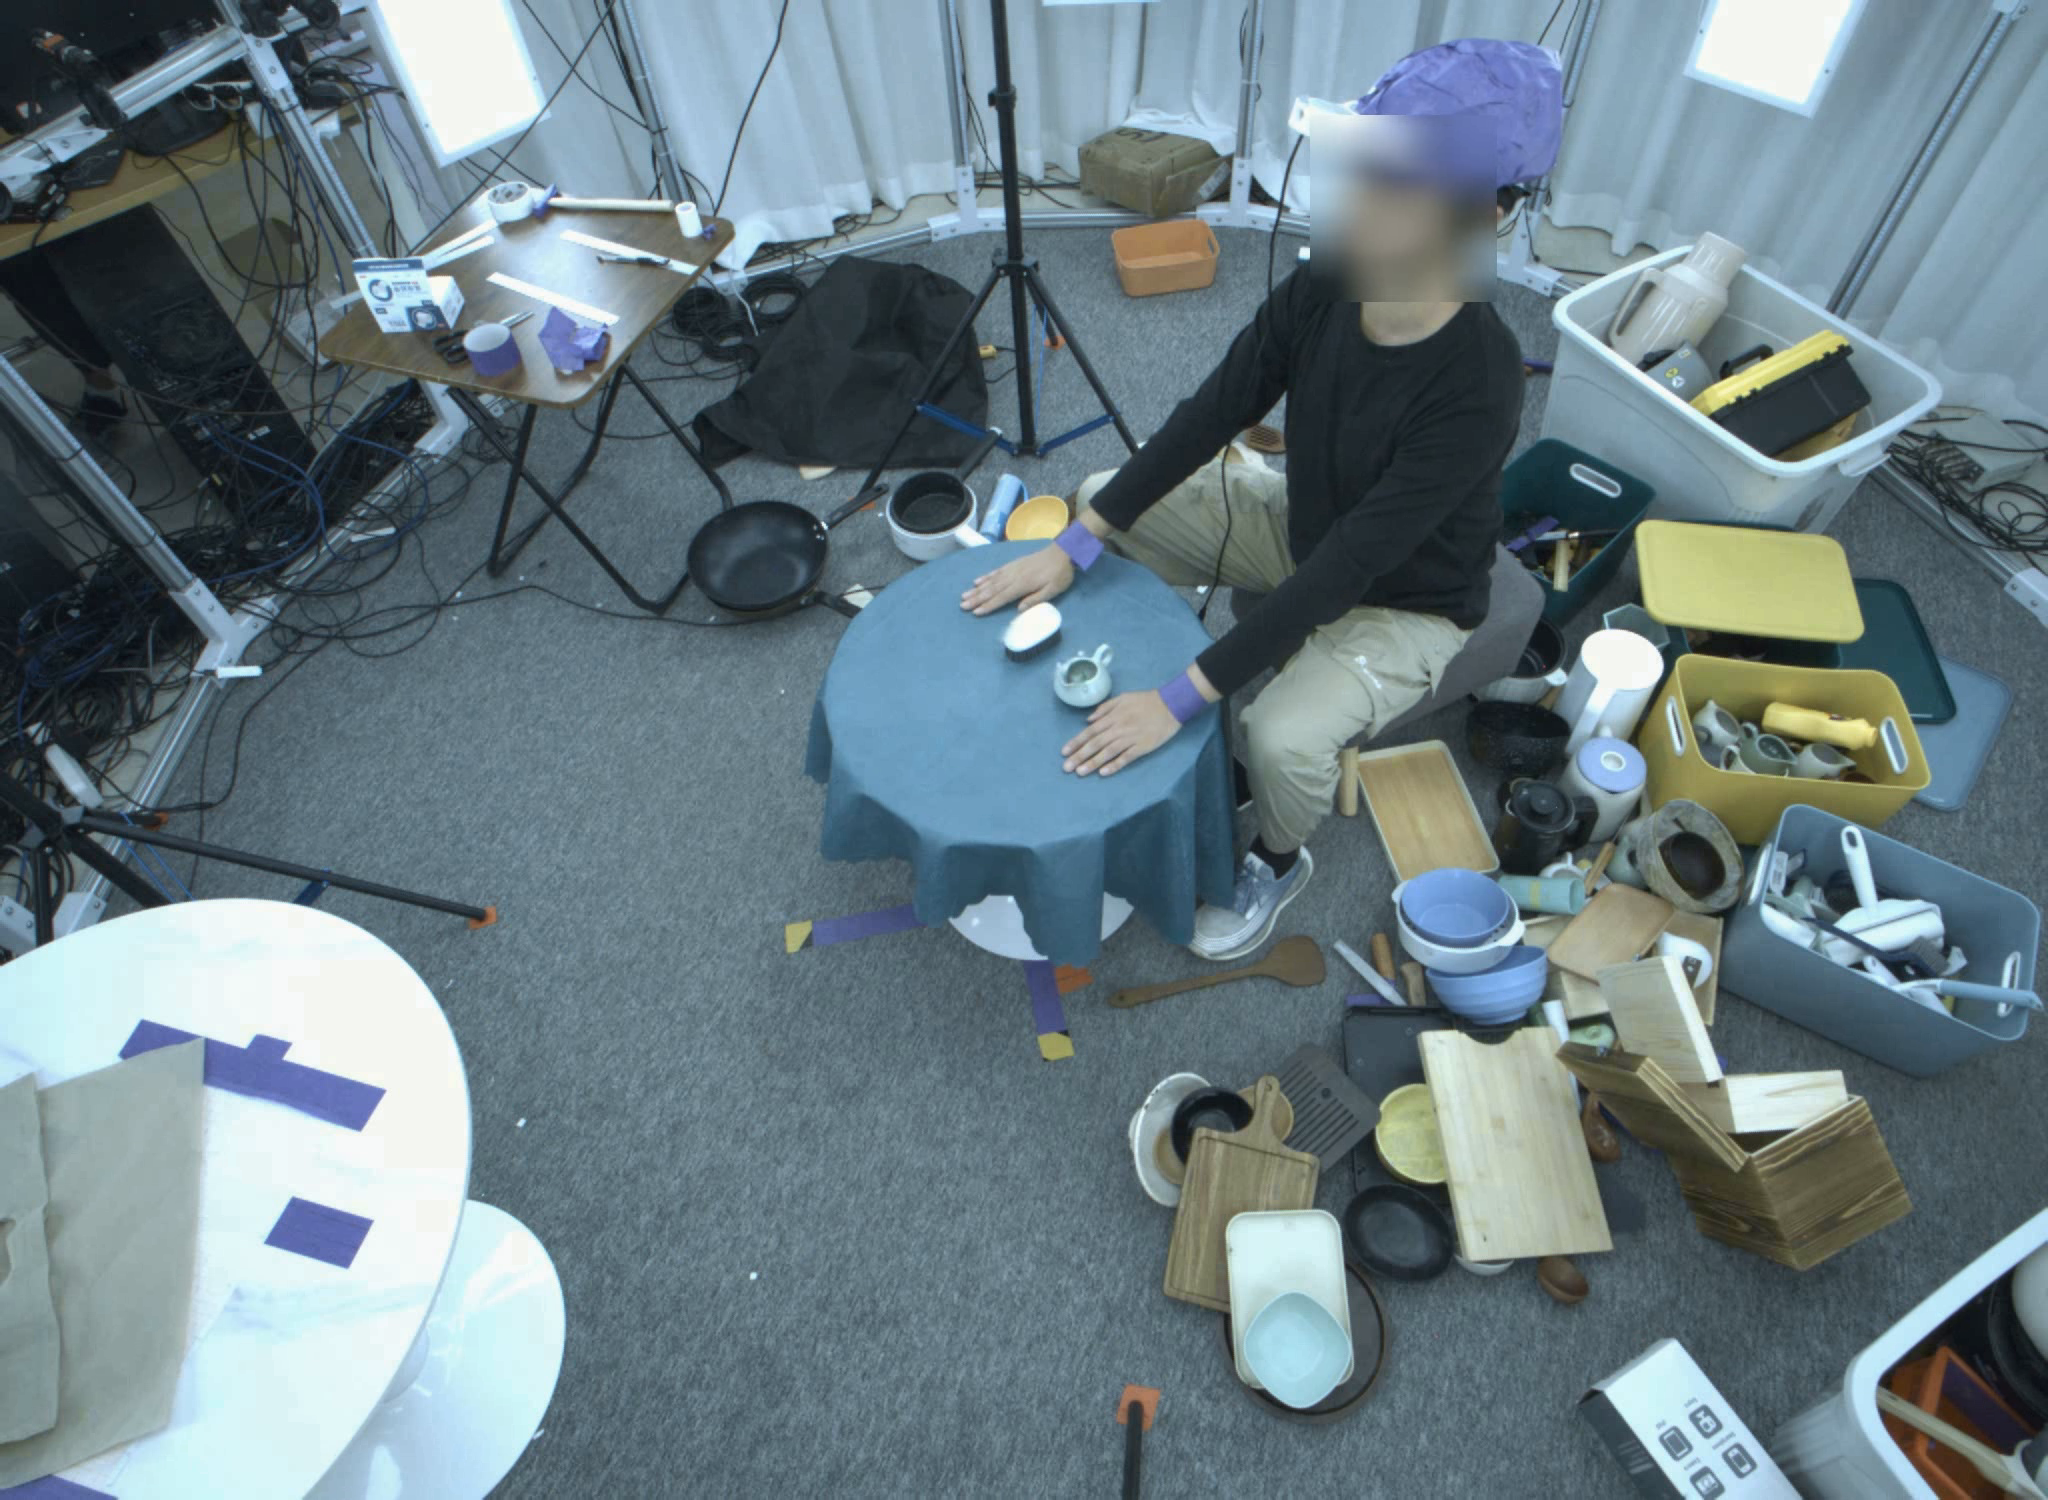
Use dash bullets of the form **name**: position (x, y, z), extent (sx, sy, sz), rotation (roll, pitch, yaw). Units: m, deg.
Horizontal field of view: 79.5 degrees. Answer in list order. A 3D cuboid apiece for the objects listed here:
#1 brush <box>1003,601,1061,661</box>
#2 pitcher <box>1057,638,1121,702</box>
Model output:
- **brush**: position (0.011, -0.189, 1.878), extent (0.100, 0.073, 0.049), rotation (-32, 60, -17)
- **pitcher**: position (0.102, -0.121, 1.833), extent (0.108, 0.061, 0.084), rotation (-40, 49, -4)
